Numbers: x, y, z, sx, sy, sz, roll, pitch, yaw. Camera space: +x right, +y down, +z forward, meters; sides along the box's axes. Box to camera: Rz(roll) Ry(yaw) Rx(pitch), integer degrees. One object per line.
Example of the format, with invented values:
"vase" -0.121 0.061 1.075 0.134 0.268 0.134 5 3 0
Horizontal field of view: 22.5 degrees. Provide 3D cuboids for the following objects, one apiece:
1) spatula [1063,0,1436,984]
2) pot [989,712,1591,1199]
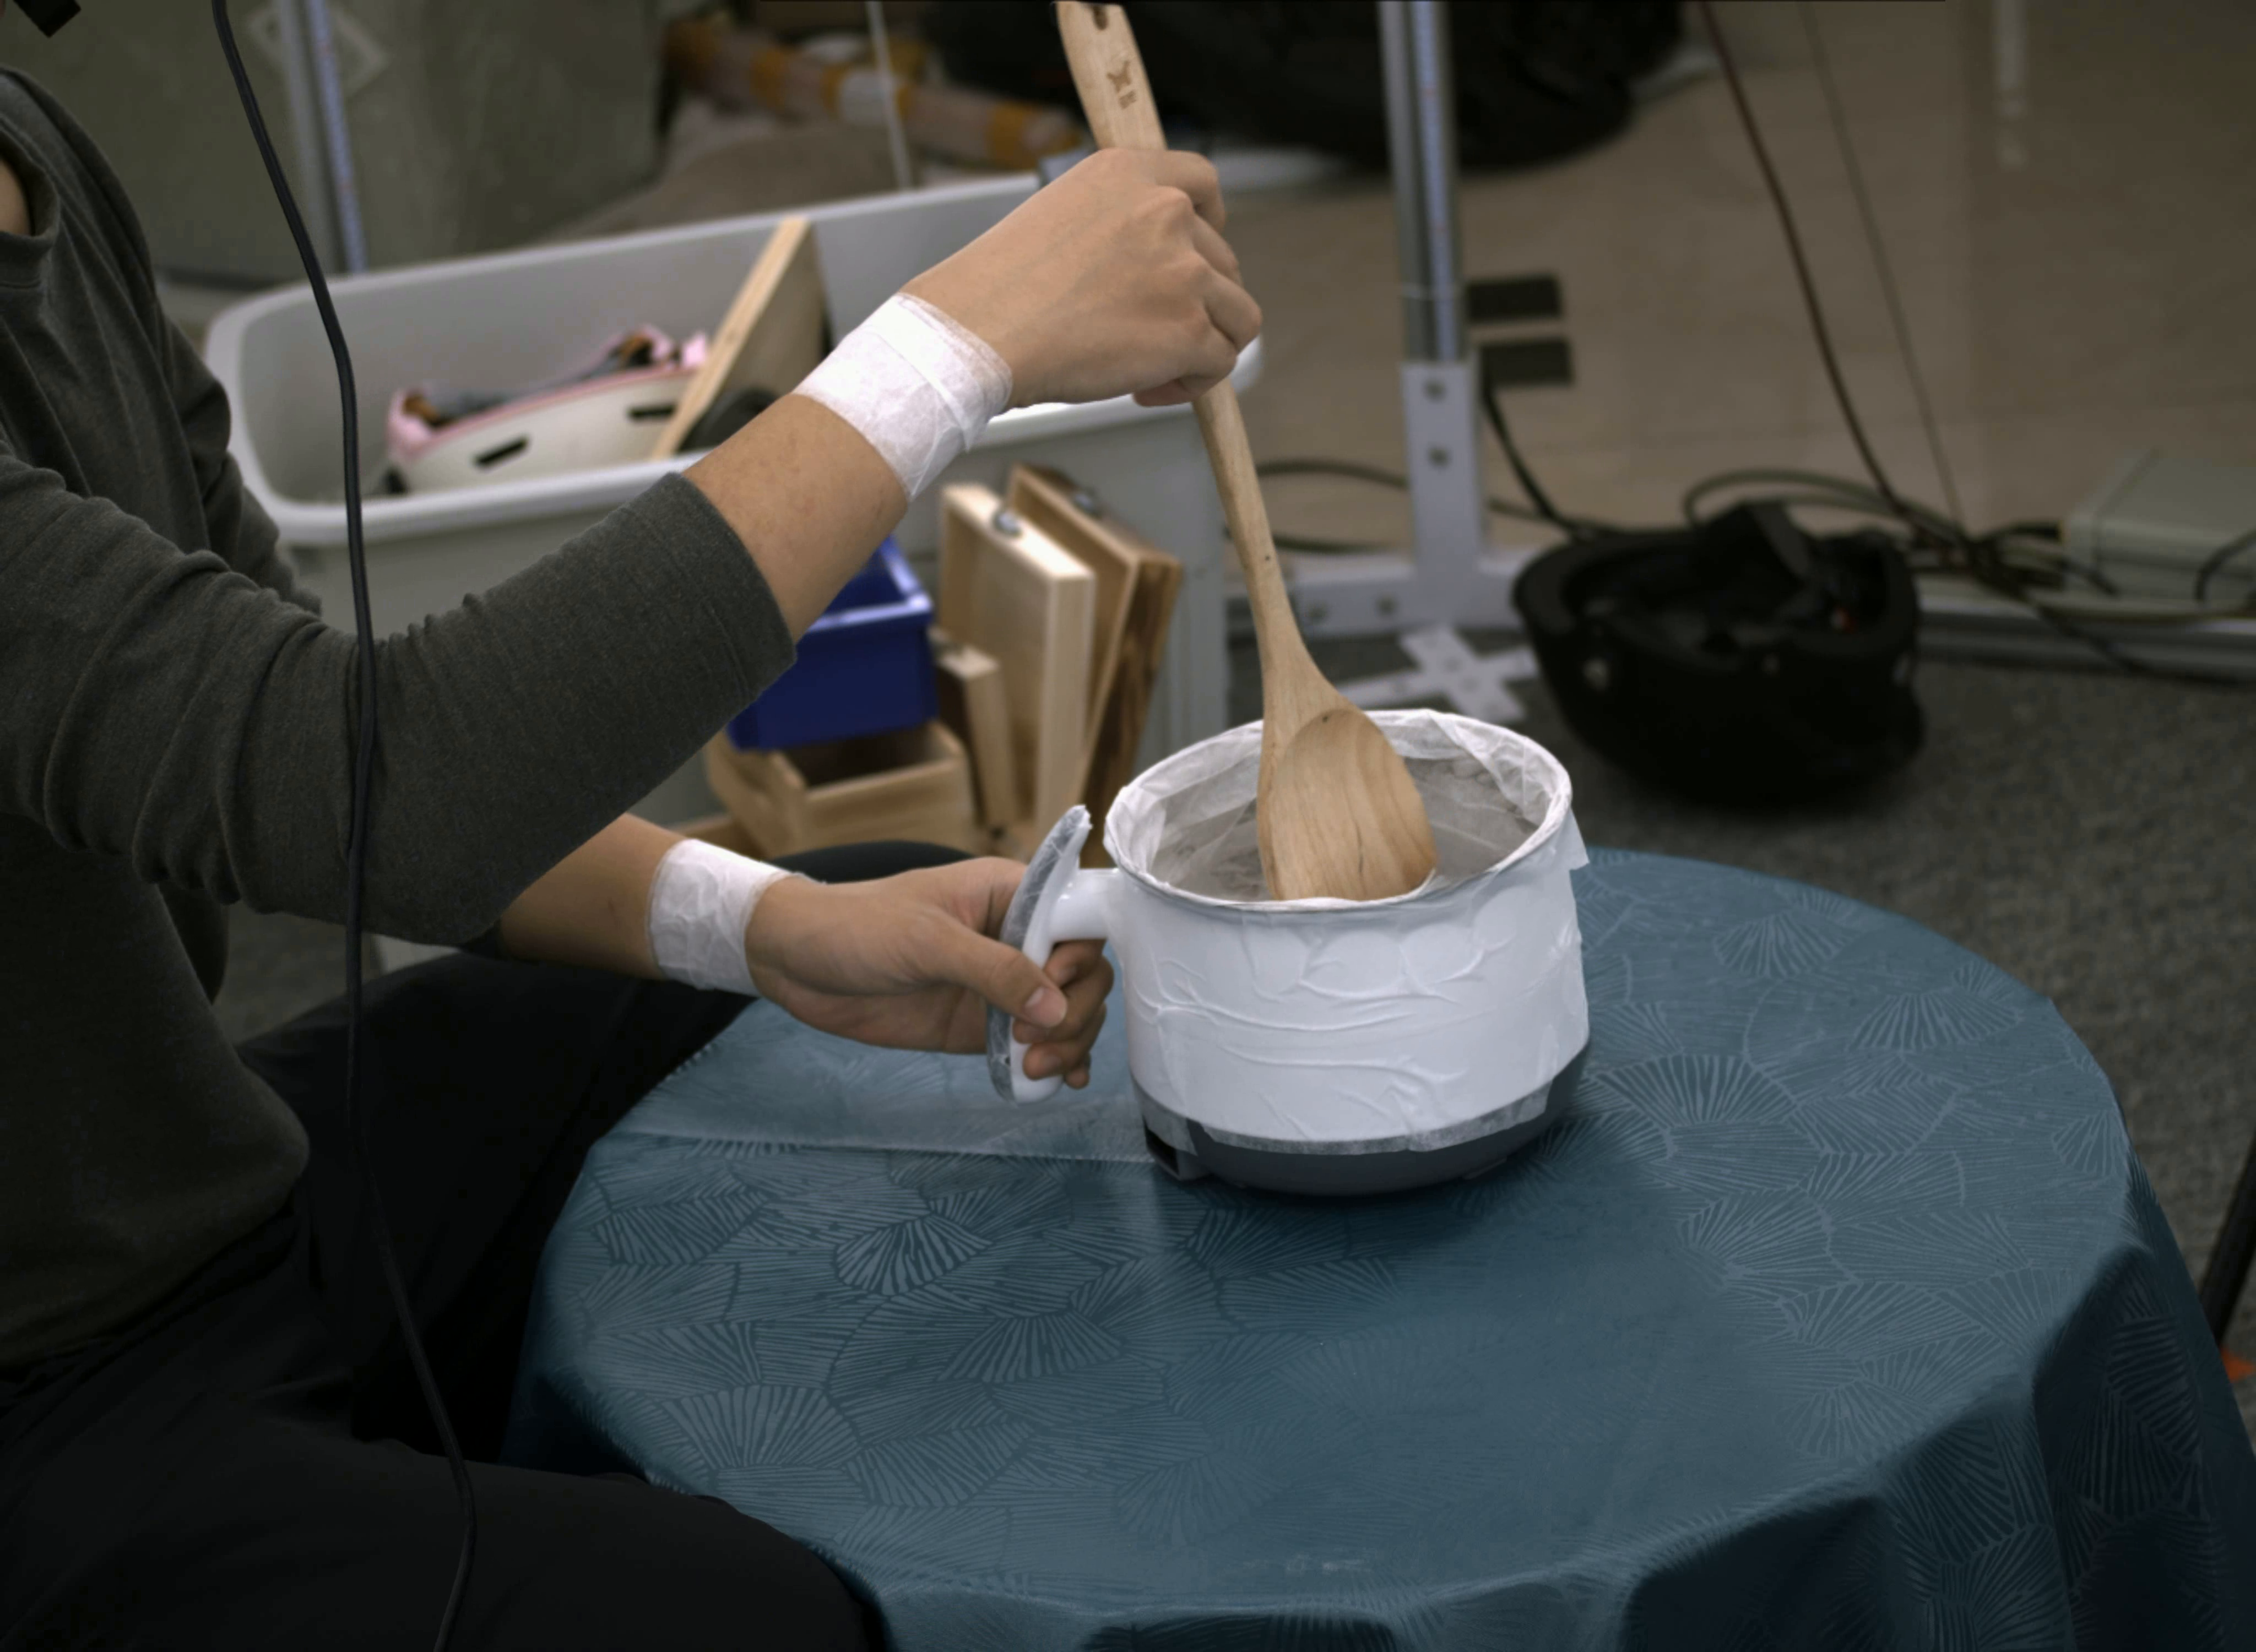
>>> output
"spatula" 0.036 -0.125 2.034 0.018 0.396 0.094 4 32 39
"pot" 0.058 0.053 2.162 0.233 0.139 0.176 -4 26 8
